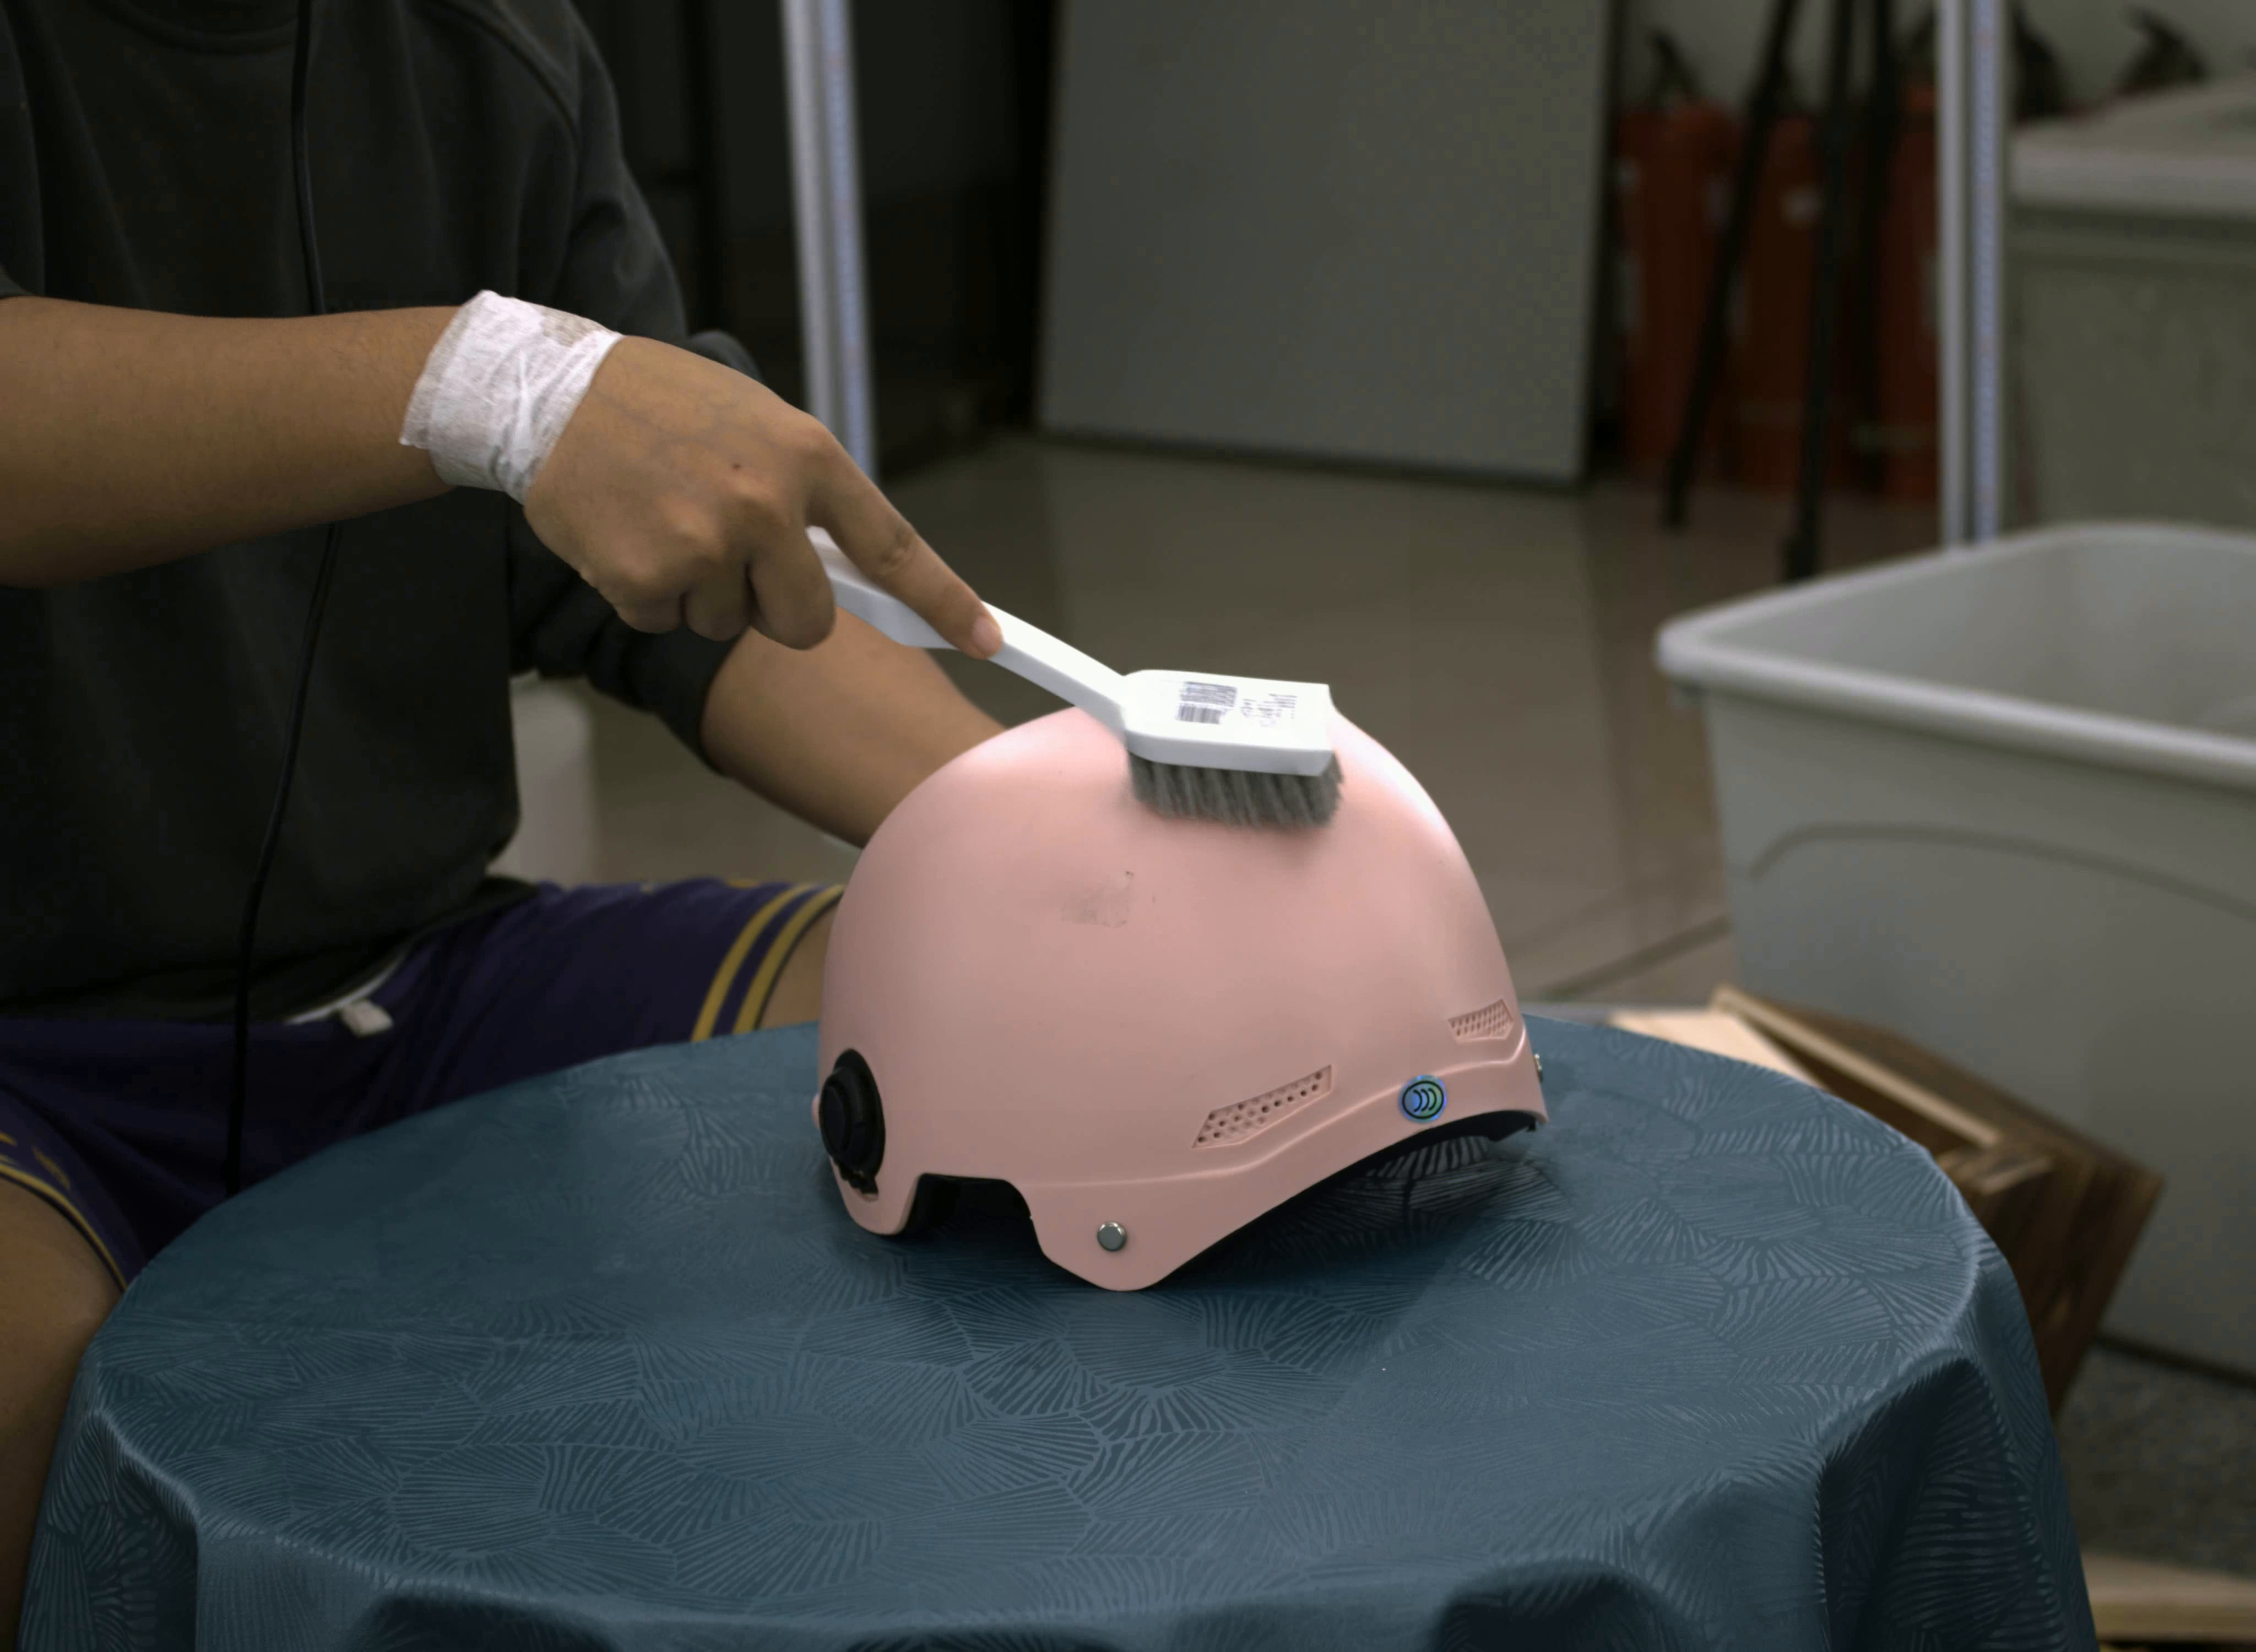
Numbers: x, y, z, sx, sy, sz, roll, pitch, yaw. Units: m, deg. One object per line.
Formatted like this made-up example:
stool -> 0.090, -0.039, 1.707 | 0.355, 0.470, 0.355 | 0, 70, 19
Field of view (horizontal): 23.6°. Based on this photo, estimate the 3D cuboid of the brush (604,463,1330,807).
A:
brush -> -0.049, -0.055, 1.660 | 0.240, 0.051, 0.034 | 17, 40, -6

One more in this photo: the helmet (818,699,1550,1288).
helmet -> 0.004, 0.036, 1.769 | 0.229, 0.160, 0.269 | -19, 16, -33
